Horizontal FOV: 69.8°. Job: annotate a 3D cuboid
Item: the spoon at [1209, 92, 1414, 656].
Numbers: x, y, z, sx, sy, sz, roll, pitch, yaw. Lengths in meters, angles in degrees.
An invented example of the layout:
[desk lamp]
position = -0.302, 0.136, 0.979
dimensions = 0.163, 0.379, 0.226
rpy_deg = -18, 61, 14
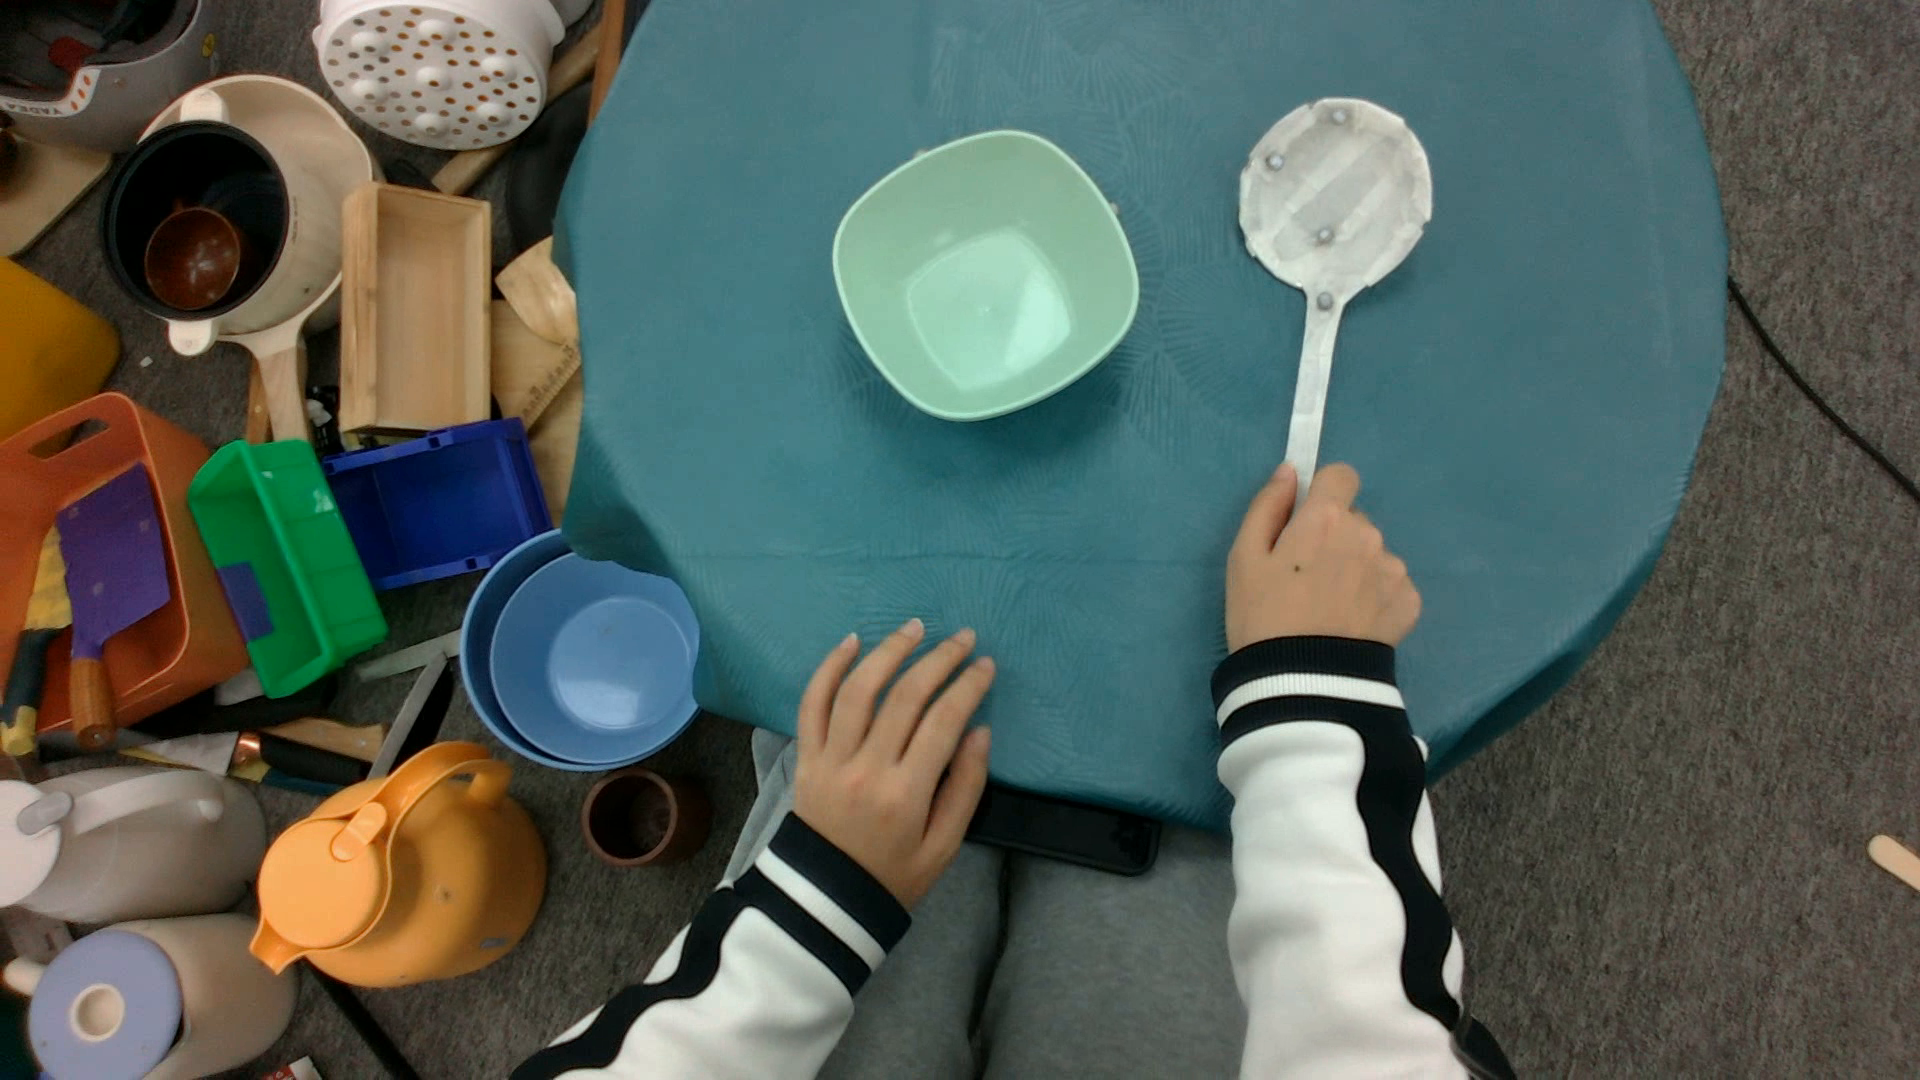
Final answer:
[spoon]
position = 0.151, -0.083, 0.669
dimensions = 0.100, 0.059, 0.278
rpy_deg = 8, 74, 27

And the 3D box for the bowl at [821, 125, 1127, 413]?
[bowl]
position = 0.007, -0.127, 0.692
dimensions = 0.151, 0.058, 0.152
rpy_deg = -1, 77, 3
